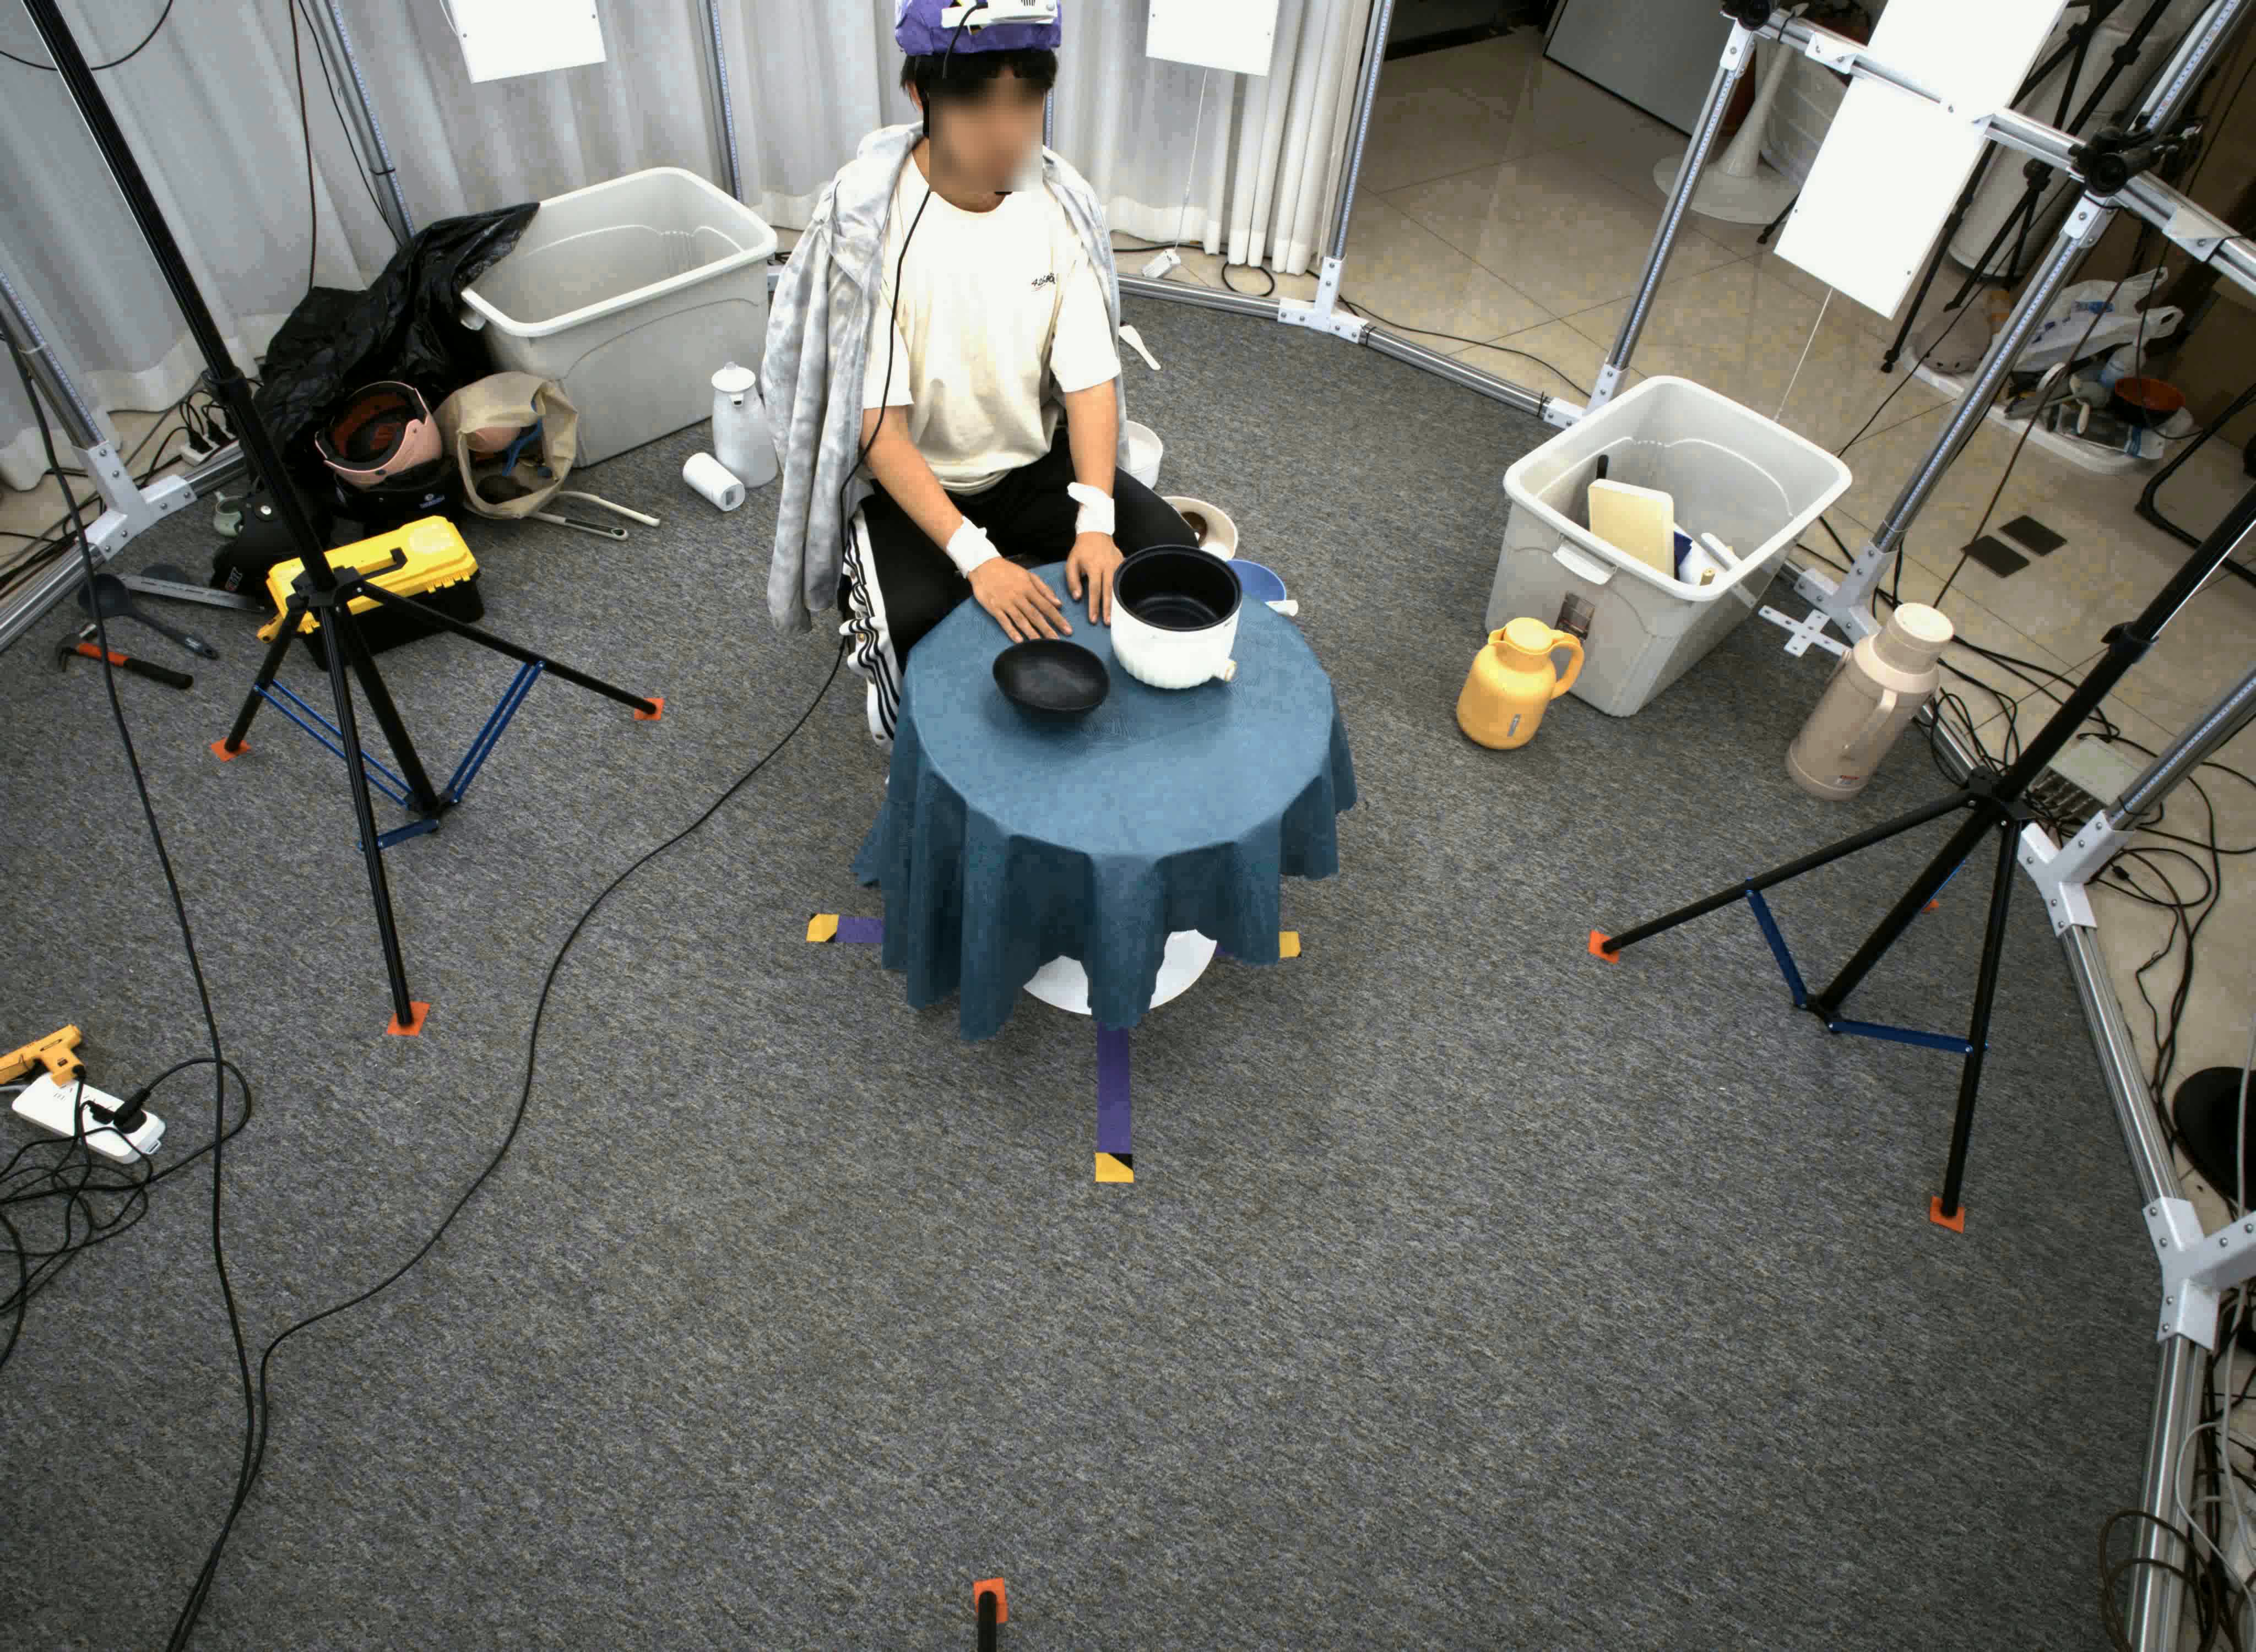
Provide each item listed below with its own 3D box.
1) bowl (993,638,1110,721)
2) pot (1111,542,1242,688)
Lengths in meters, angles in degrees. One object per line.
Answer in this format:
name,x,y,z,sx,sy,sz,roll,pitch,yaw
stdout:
bowl,-0.108,-0.192,1.778,0.171,0.065,0.140,22,50,16
pot,0.070,-0.290,1.829,0.192,0.139,0.244,25,52,21
